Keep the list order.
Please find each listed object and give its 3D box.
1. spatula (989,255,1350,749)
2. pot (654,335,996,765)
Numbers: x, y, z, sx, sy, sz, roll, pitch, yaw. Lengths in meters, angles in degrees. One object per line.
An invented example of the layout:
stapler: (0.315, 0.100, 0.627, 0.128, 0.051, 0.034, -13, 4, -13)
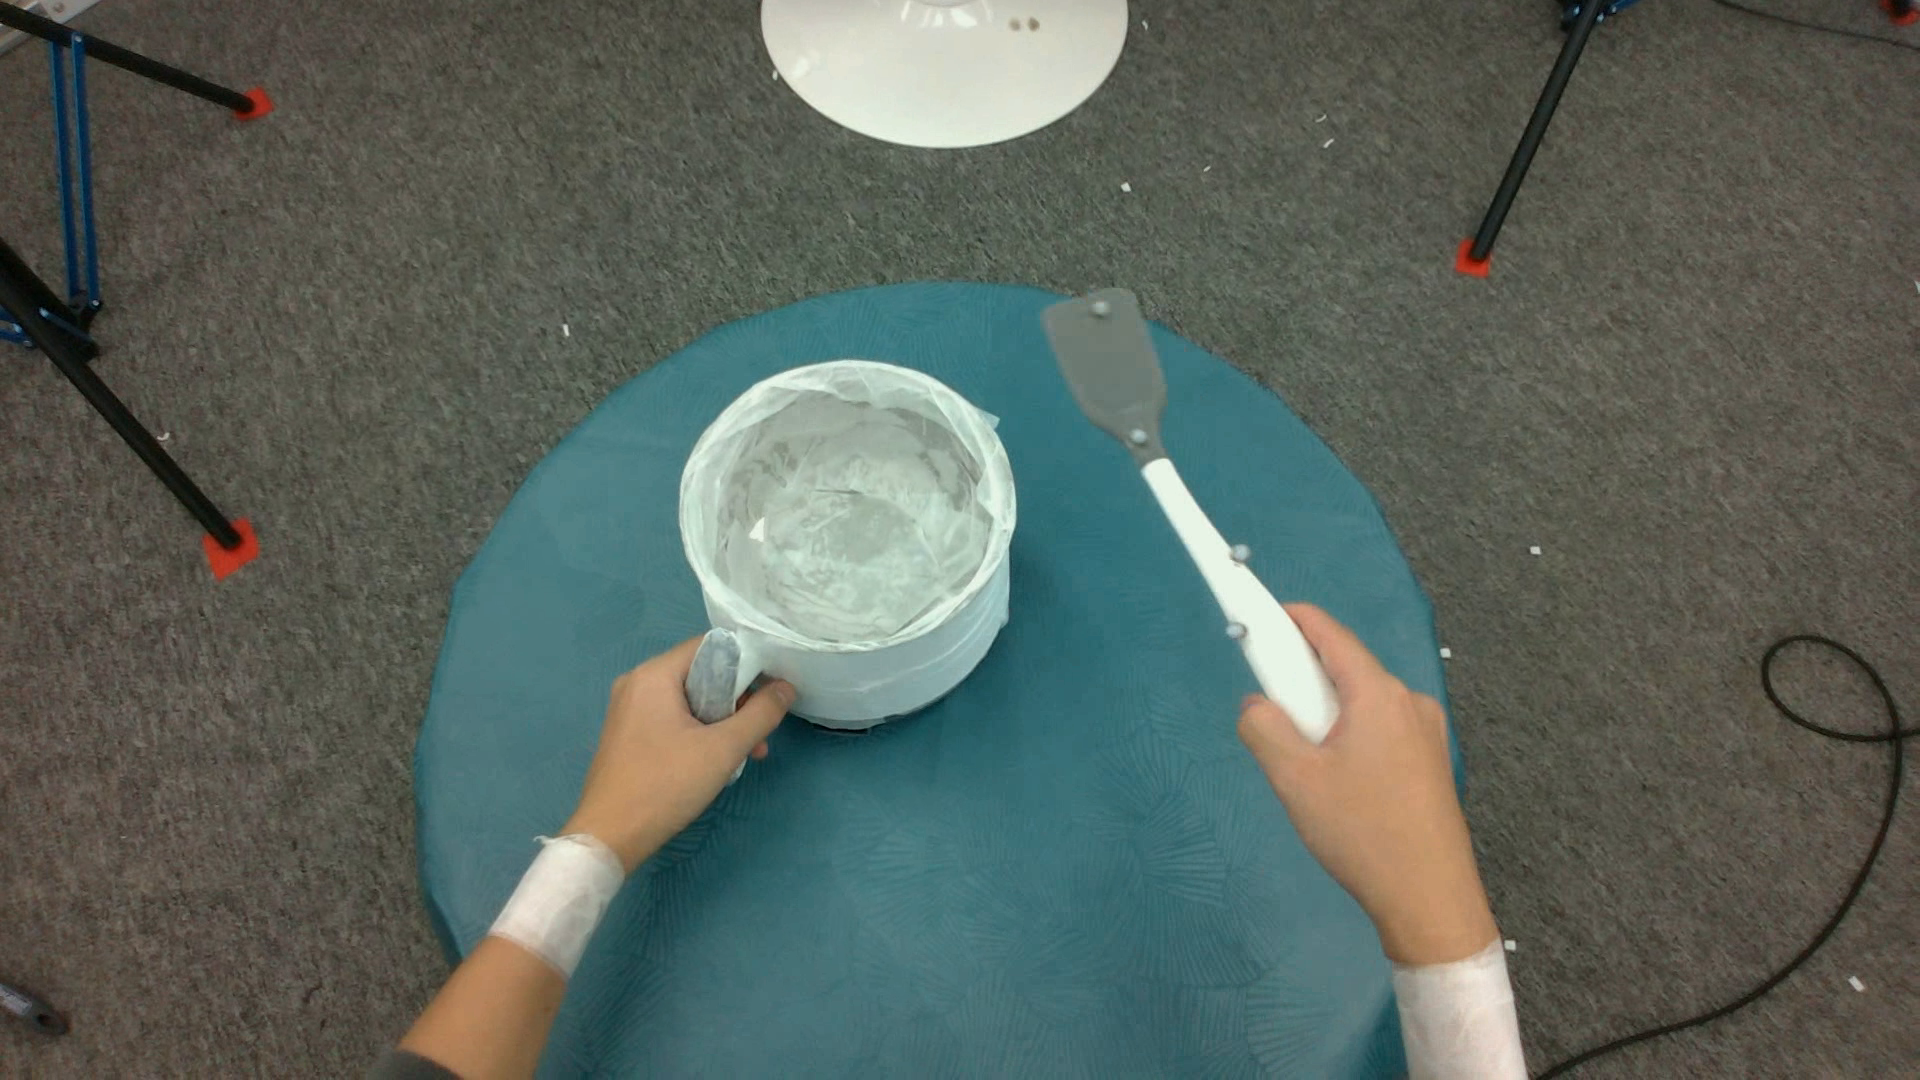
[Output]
spatula: (0.094, -0.029, 0.659, 0.059, 0.032, 0.288, -23, 60, -8)
pot: (-0.086, 0.015, 0.763, 0.179, 0.136, 0.234, 30, 66, 14)
